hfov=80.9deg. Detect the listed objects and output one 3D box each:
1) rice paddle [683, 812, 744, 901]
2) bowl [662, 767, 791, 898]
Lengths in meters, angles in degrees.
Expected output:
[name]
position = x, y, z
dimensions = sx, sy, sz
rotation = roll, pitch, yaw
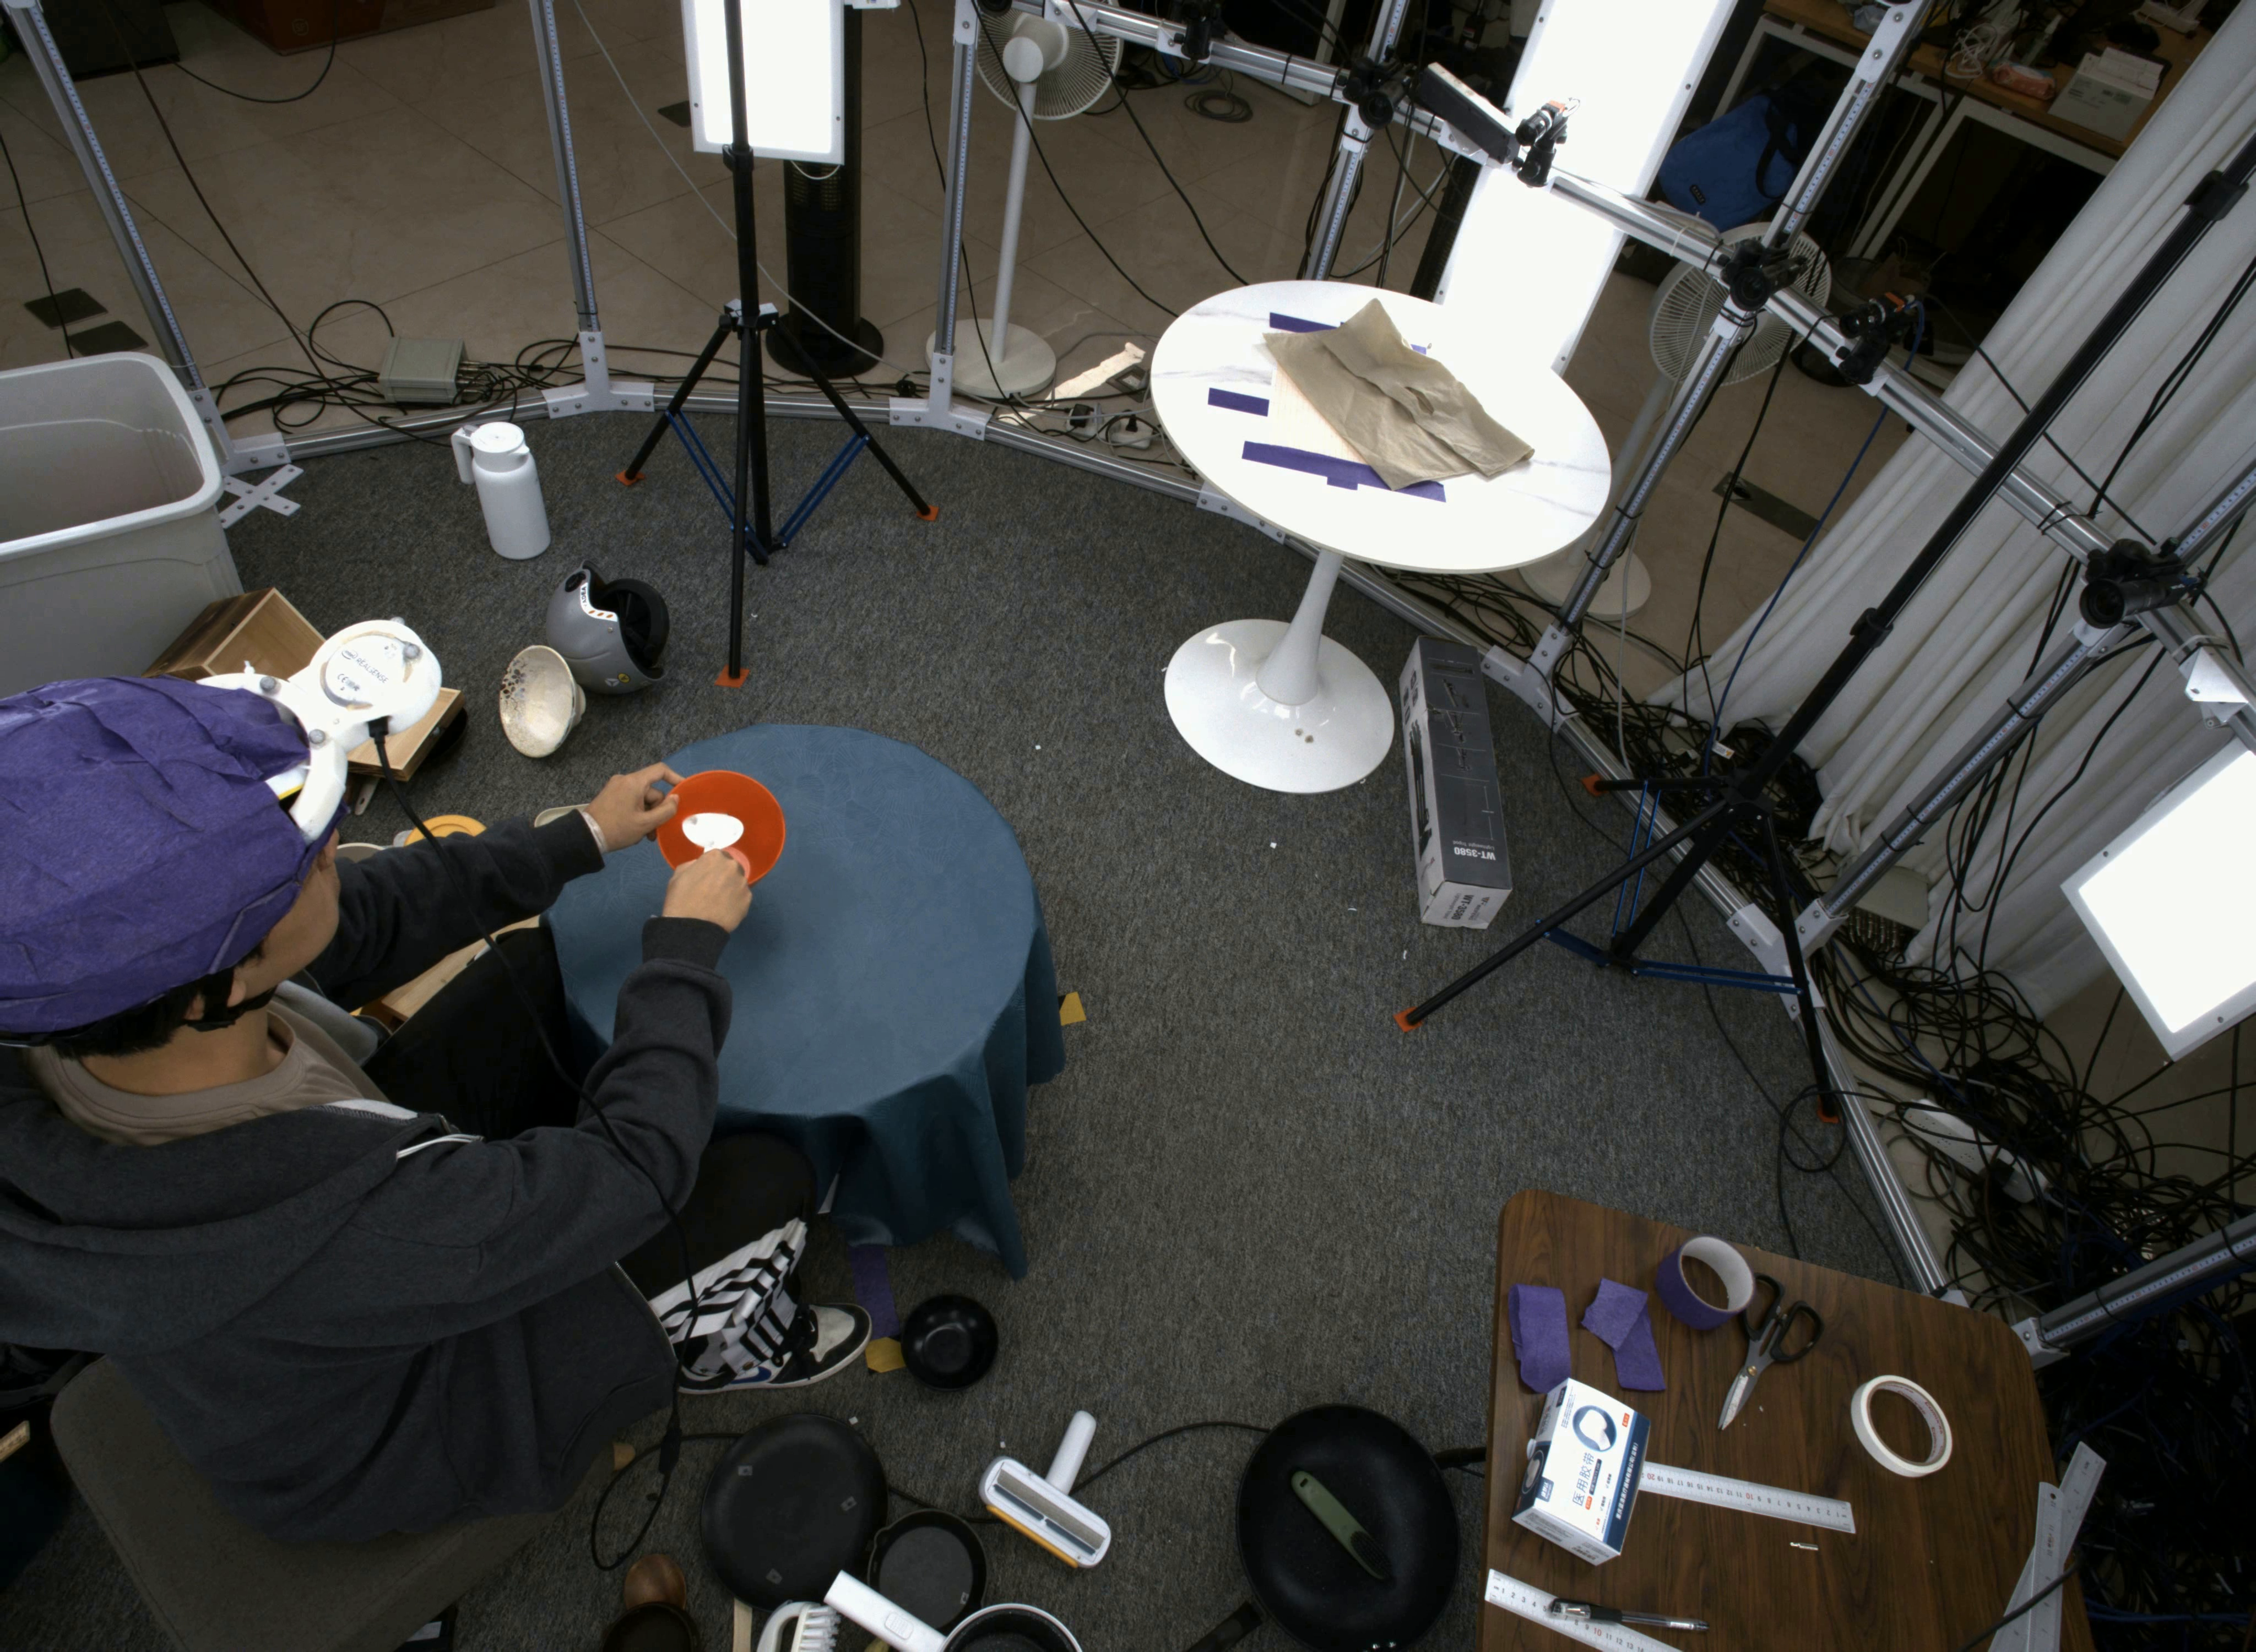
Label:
[rice paddle]
position = -0.464, 0.022, 1.443
dimensions = 0.069, 0.030, 0.199
rotation = 5, 23, -19
[bowl]
position = -0.482, 0.019, 1.553
dimensions = 0.149, 0.105, 0.146
rotation = 9, 62, -15
